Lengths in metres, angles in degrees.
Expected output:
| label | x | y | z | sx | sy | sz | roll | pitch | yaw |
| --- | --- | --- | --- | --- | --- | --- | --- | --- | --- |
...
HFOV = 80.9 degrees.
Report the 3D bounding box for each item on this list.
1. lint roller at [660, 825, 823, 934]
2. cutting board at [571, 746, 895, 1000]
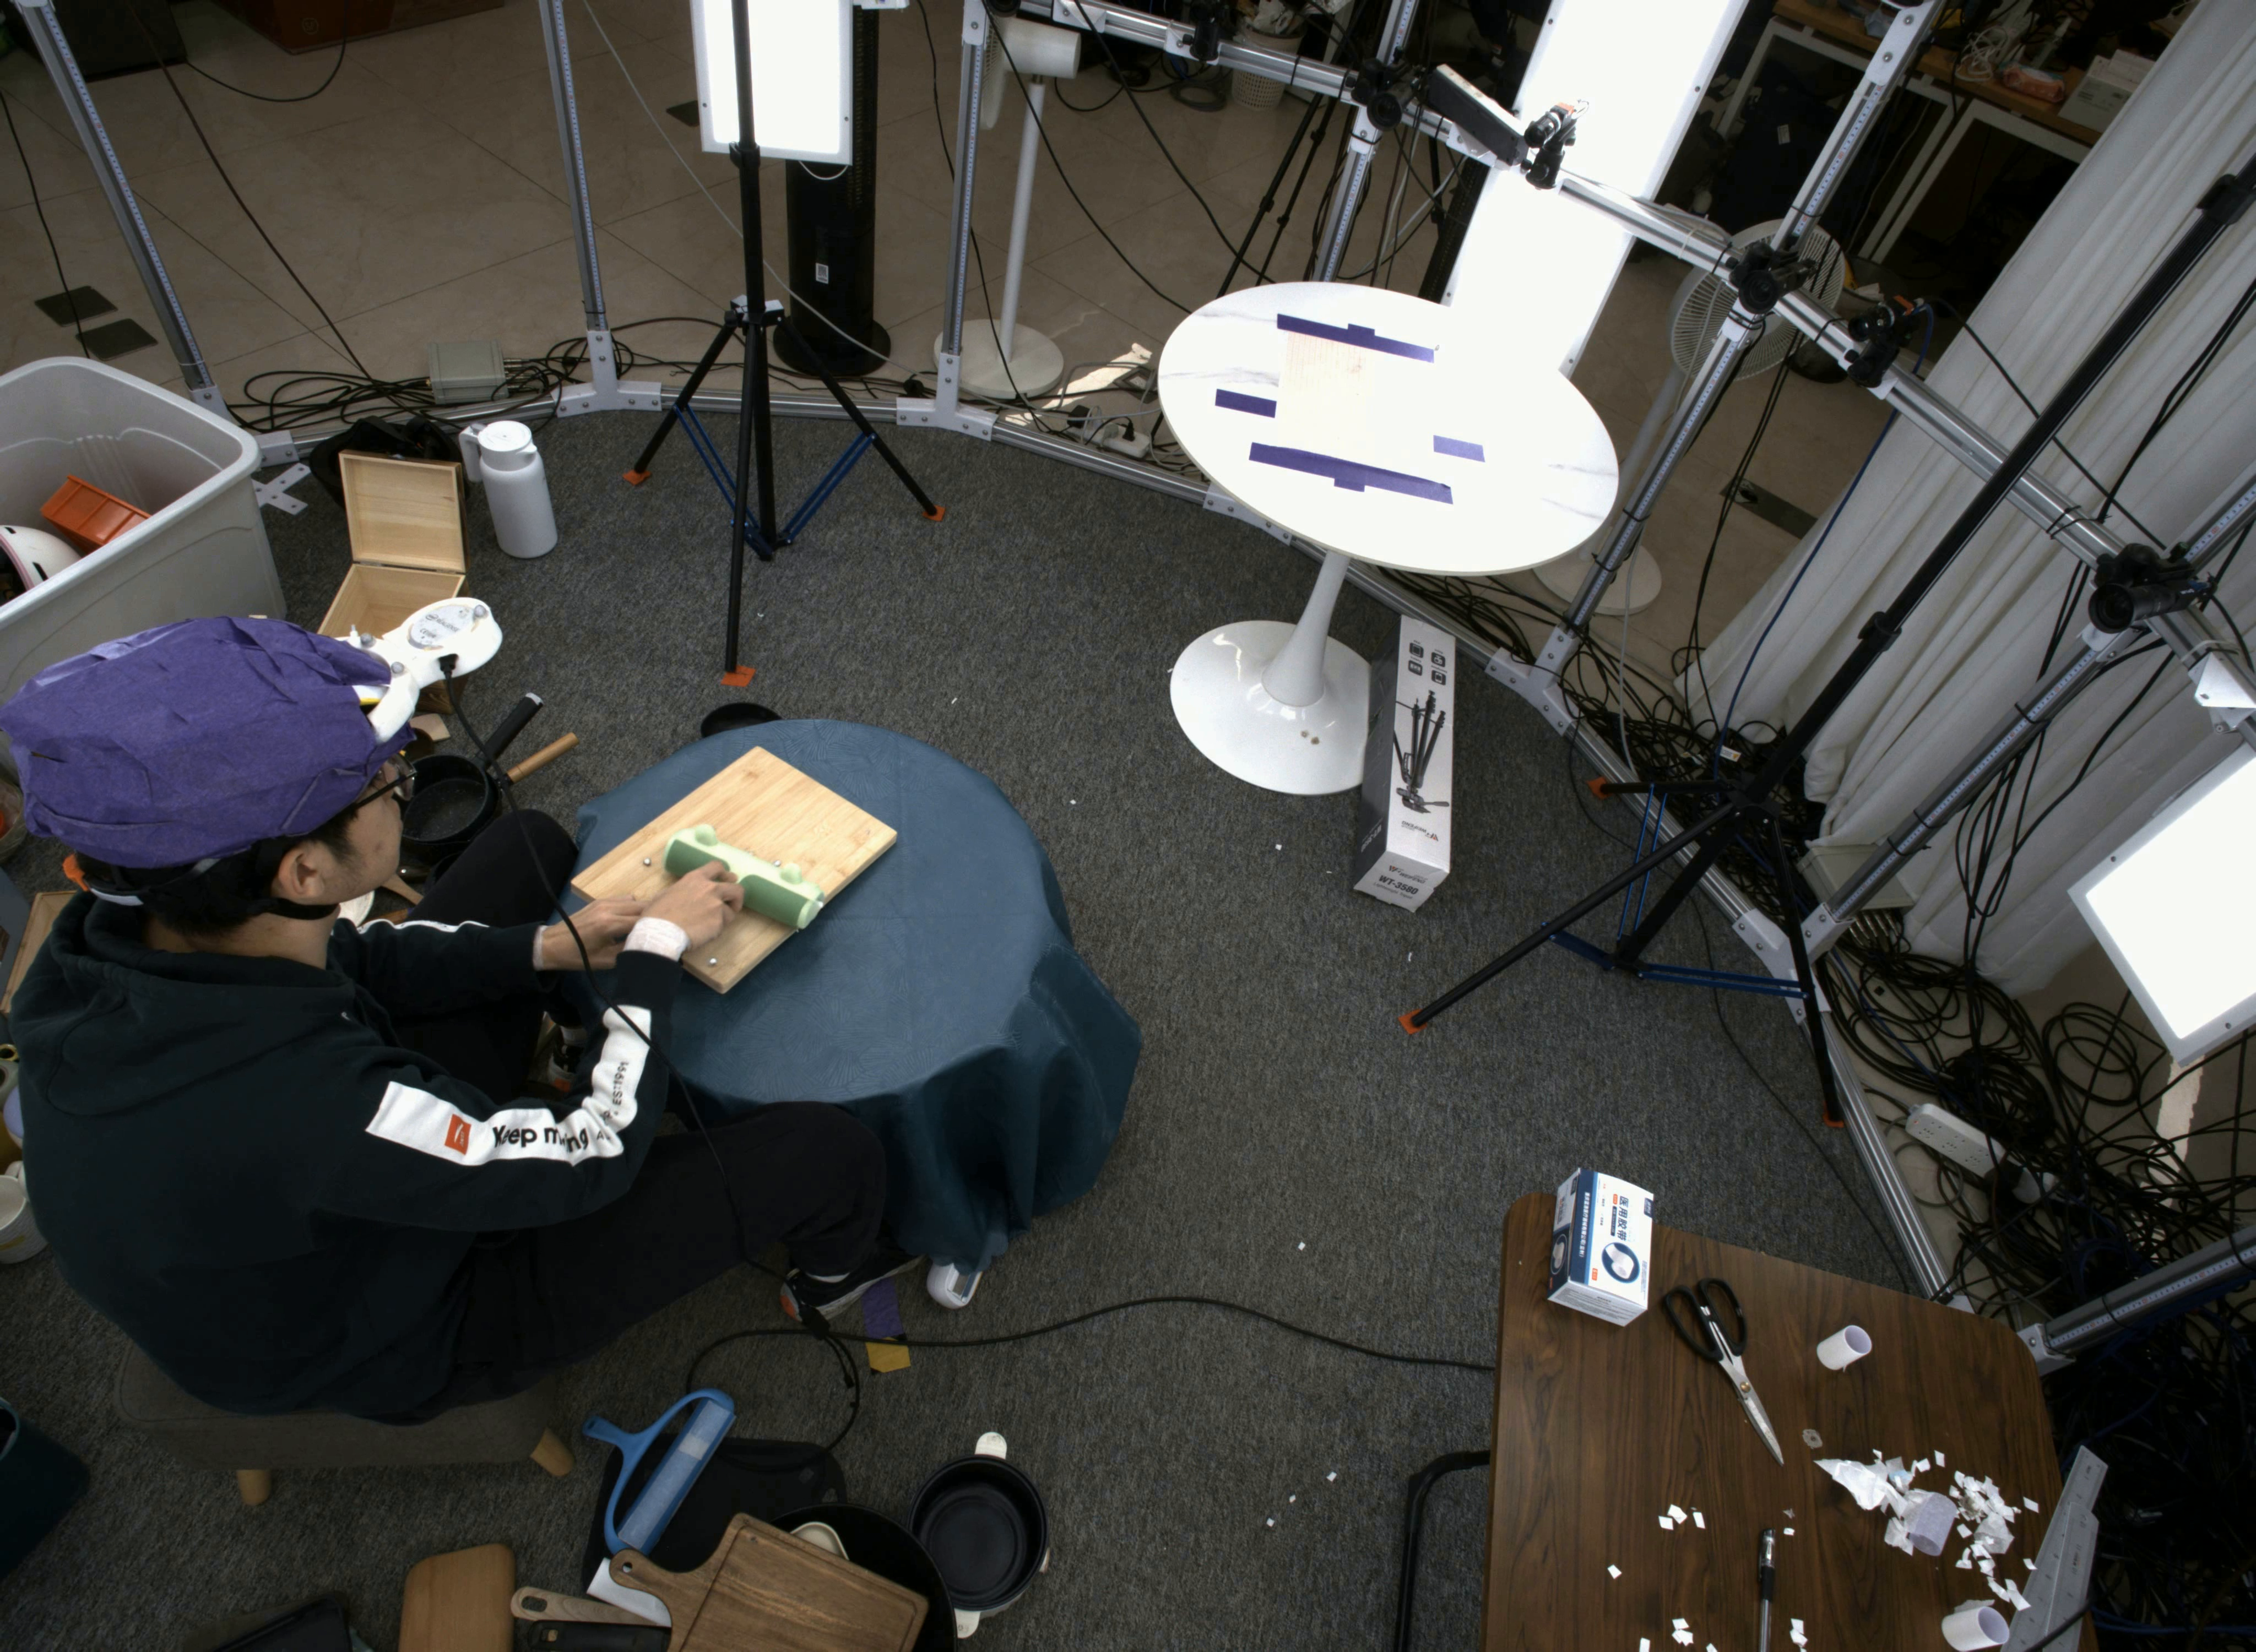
| label | x | y | z | sx | sy | sz | roll | pitch | yaw |
| --- | --- | --- | --- | --- | --- | --- | --- | --- | --- |
| lint roller | -0.477 | 0.066 | 1.517 | 0.196 | 0.083 | 0.182 | 24 | 13 | 3 |
| cutting board | -0.493 | 0.046 | 1.635 | 0.246 | 0.024 | 0.347 | 31 | 44 | 9 |
